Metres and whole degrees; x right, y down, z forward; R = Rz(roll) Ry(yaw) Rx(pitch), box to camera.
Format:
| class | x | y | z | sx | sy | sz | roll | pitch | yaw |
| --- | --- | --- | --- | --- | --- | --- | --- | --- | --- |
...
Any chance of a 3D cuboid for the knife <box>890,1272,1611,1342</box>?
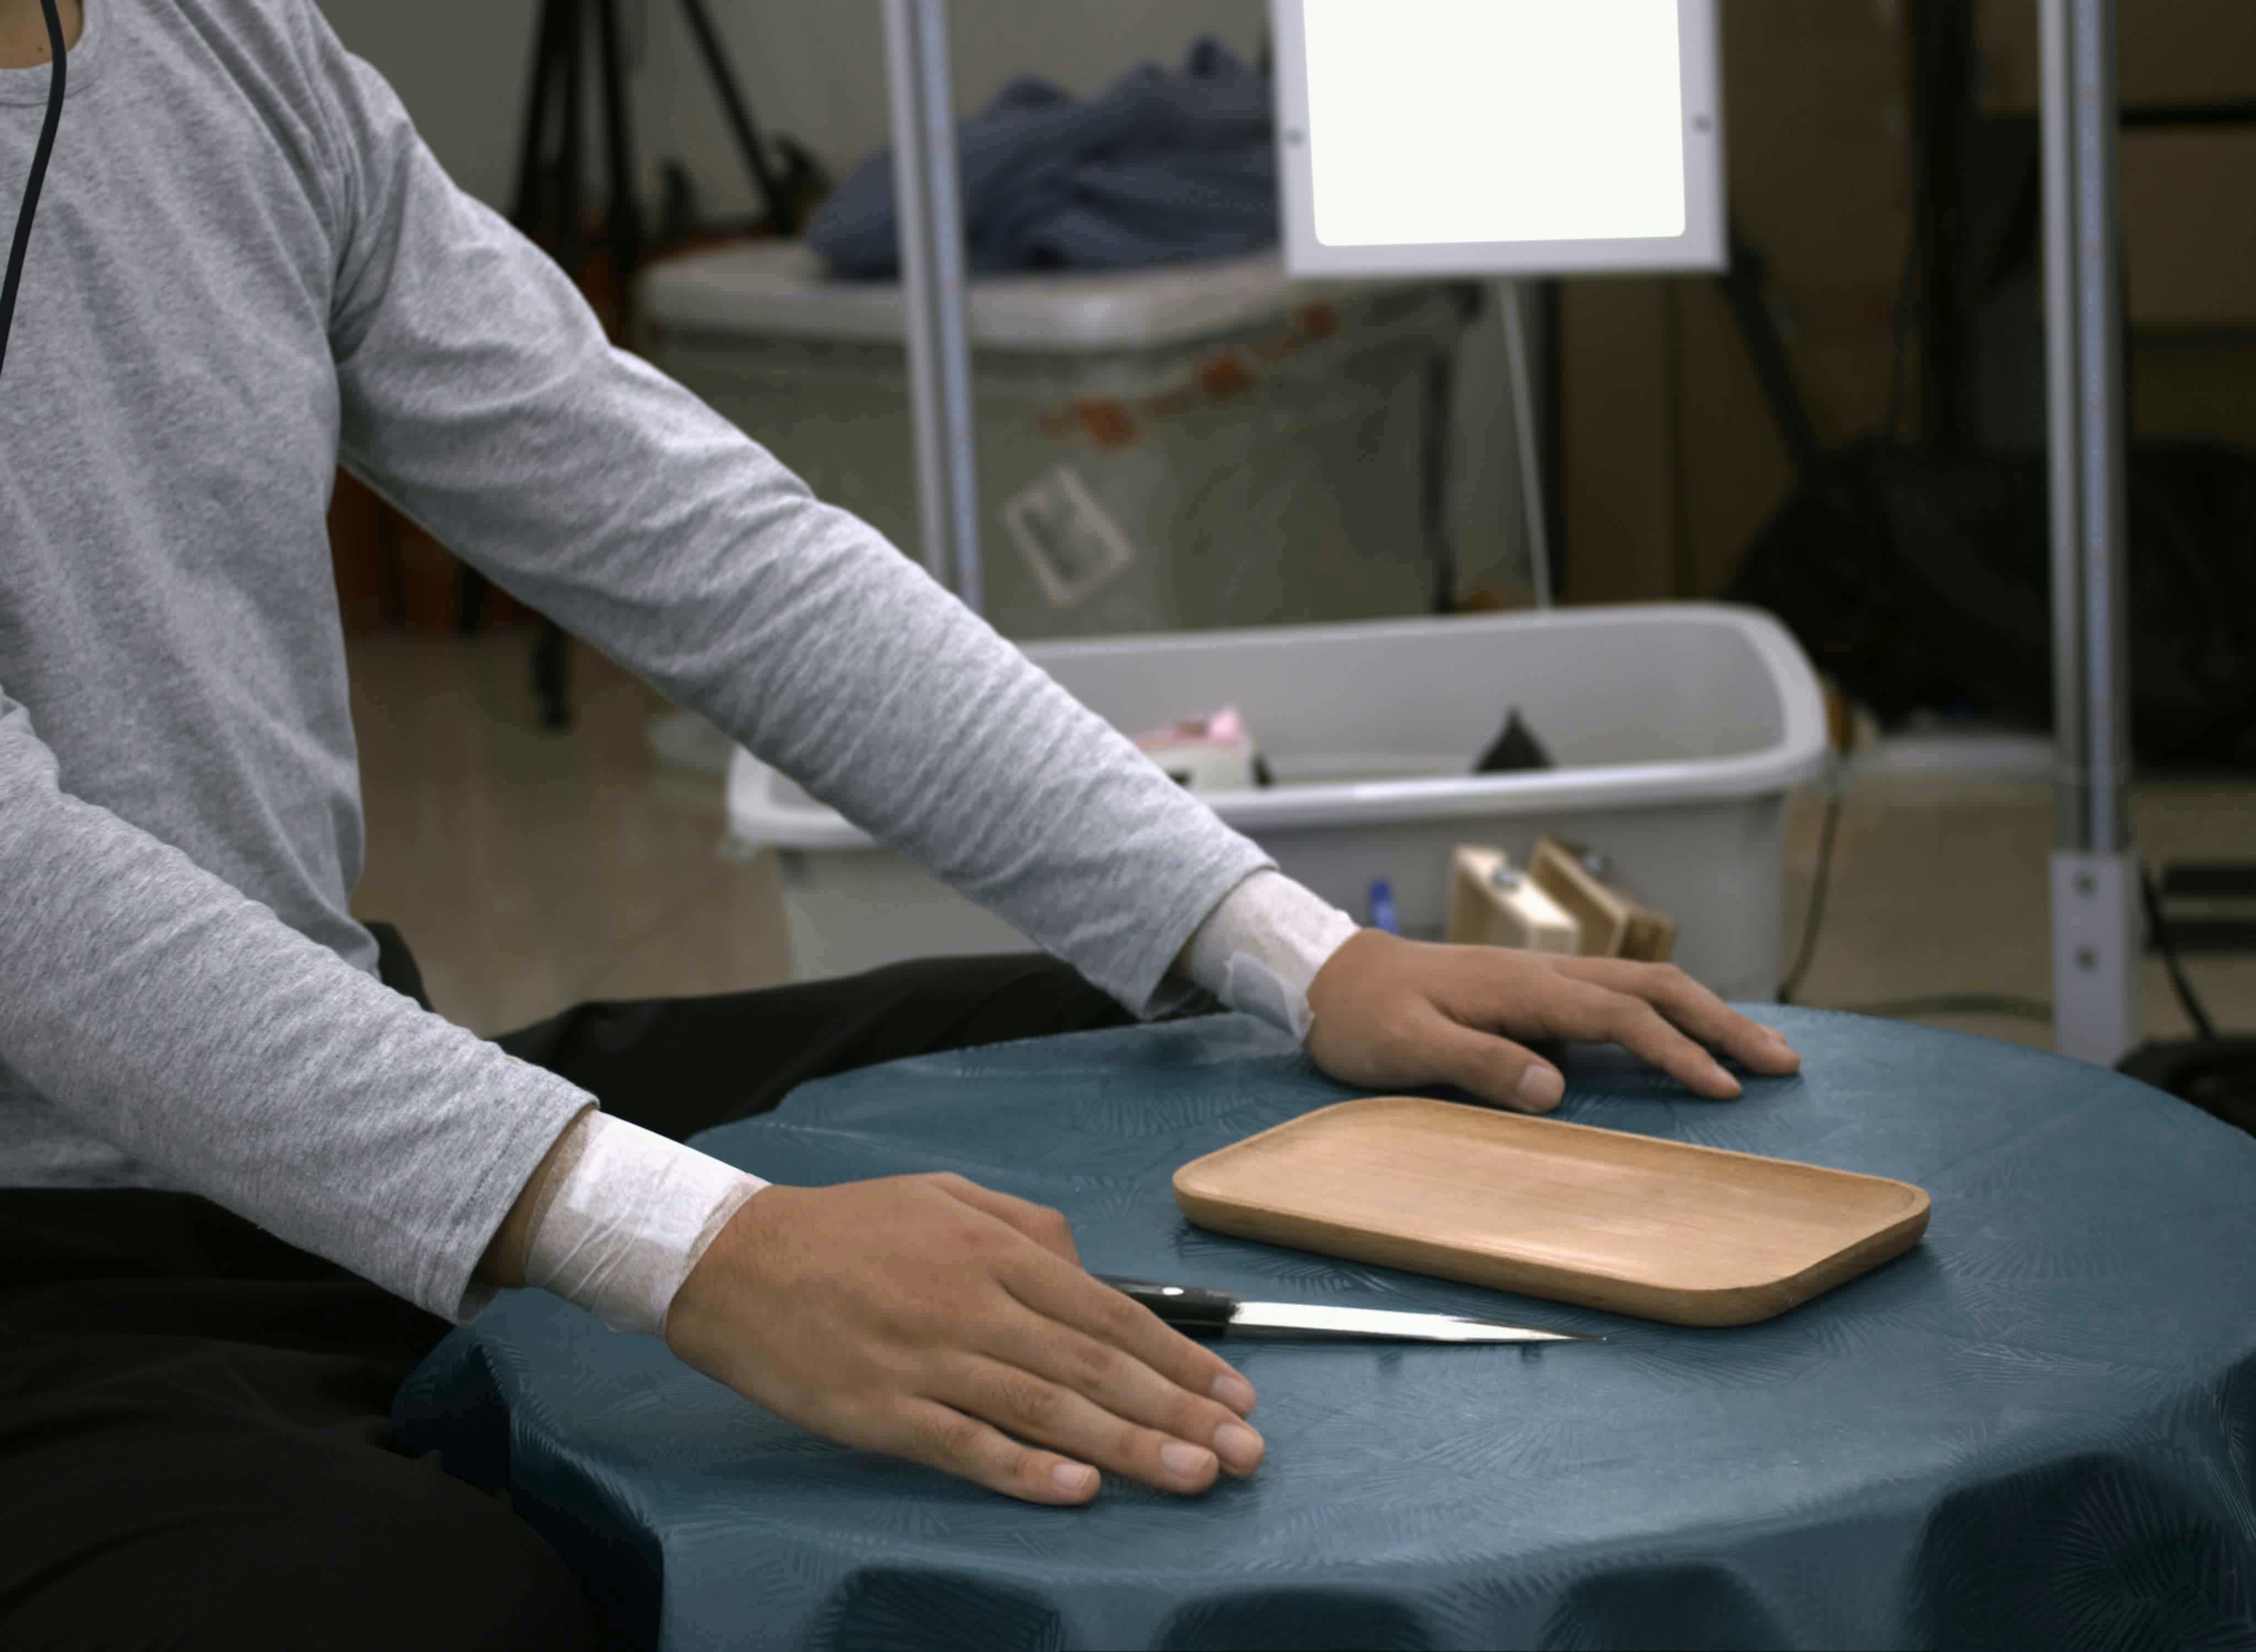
| class | x | y | z | sx | sy | sz | roll | pitch | yaw |
| --- | --- | --- | --- | --- | --- | --- | --- | --- | --- |
| knife | 0.036 | 0.156 | 1.748 | 0.241 | 0.016 | 0.024 | 2 | 15 | 17 |

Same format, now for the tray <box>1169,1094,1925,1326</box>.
| class | x | y | z | sx | sy | sz | roll | pitch | yaw |
| --- | --- | --- | --- | --- | --- | --- | --- | --- | --- |
| tray | 0.137 | 0.125 | 1.822 | 0.256 | 0.023 | 0.127 | 7 | 15 | 44 |
